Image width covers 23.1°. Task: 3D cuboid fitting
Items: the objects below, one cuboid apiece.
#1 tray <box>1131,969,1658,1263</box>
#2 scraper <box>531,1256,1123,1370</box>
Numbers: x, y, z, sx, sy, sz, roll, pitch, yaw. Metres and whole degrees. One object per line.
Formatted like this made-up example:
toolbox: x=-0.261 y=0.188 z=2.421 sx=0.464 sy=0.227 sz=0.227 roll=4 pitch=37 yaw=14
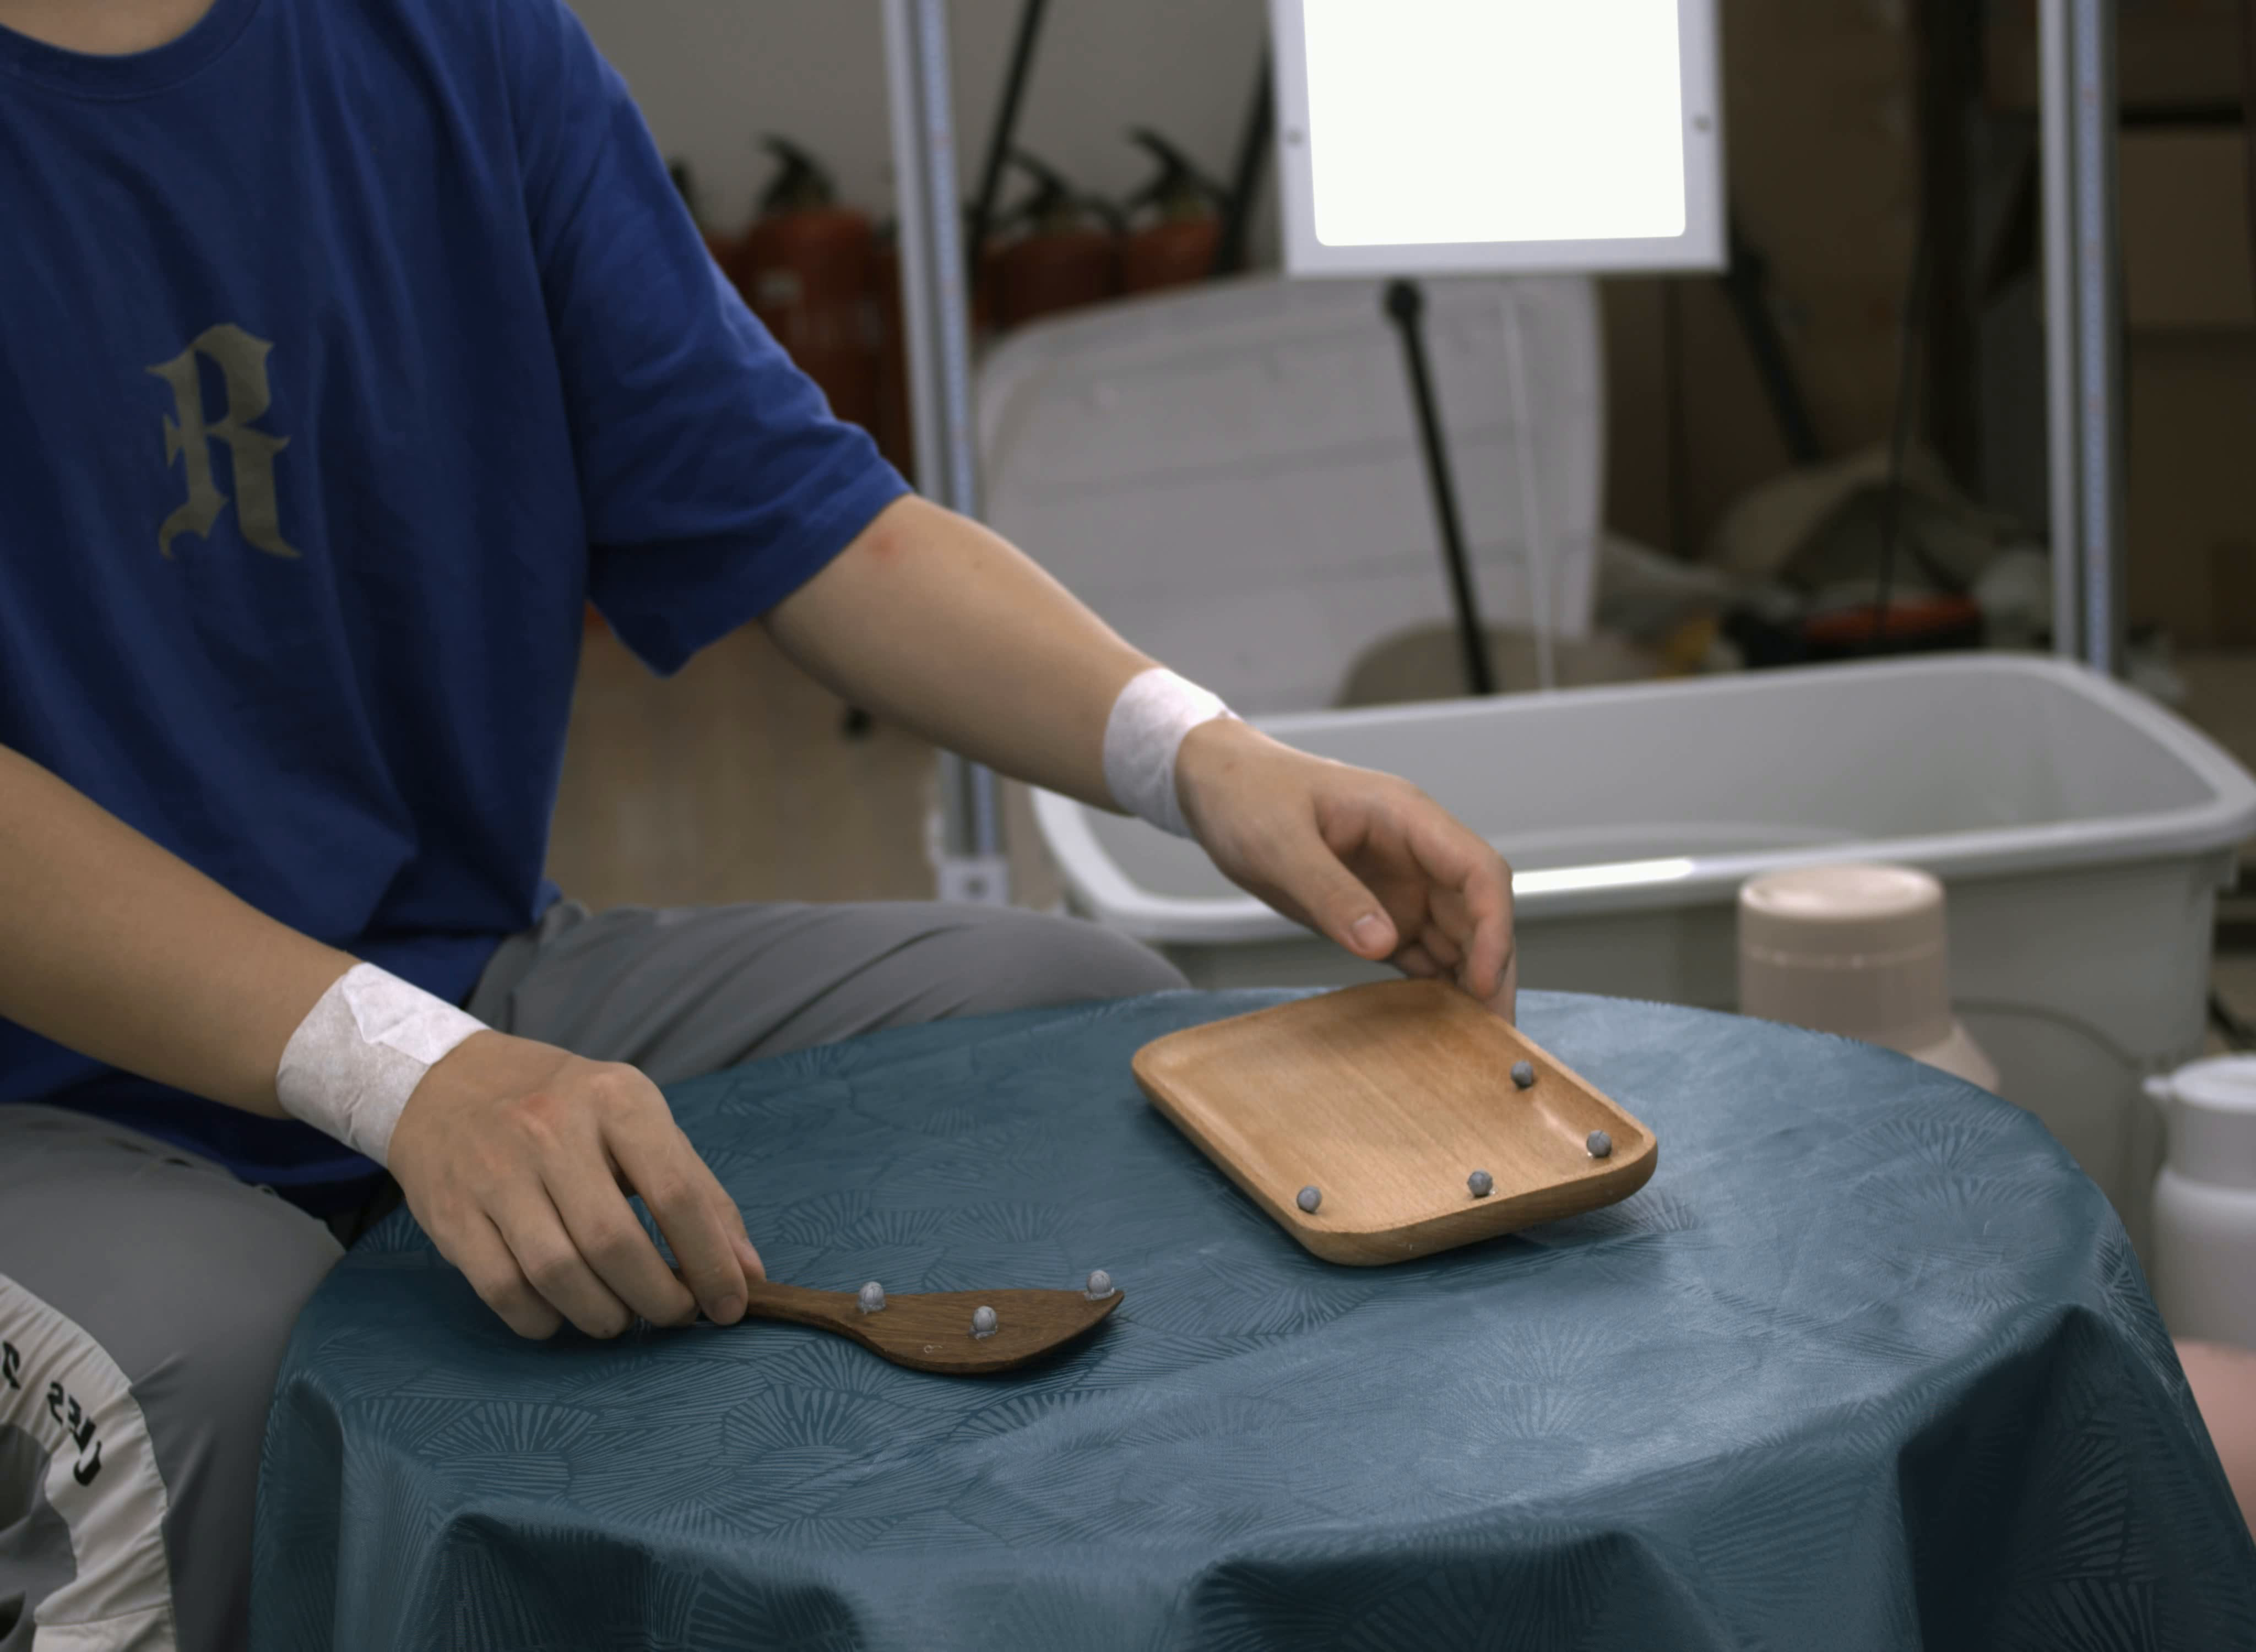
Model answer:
tray: x=0.089 y=0.099 z=1.911 sx=0.129 sy=0.023 sz=0.253 roll=-11 pitch=15 yaw=-12
scraper: x=-0.104 y=0.155 z=1.793 sx=0.215 sy=0.011 sz=0.074 roll=4 pitch=15 yaw=31
